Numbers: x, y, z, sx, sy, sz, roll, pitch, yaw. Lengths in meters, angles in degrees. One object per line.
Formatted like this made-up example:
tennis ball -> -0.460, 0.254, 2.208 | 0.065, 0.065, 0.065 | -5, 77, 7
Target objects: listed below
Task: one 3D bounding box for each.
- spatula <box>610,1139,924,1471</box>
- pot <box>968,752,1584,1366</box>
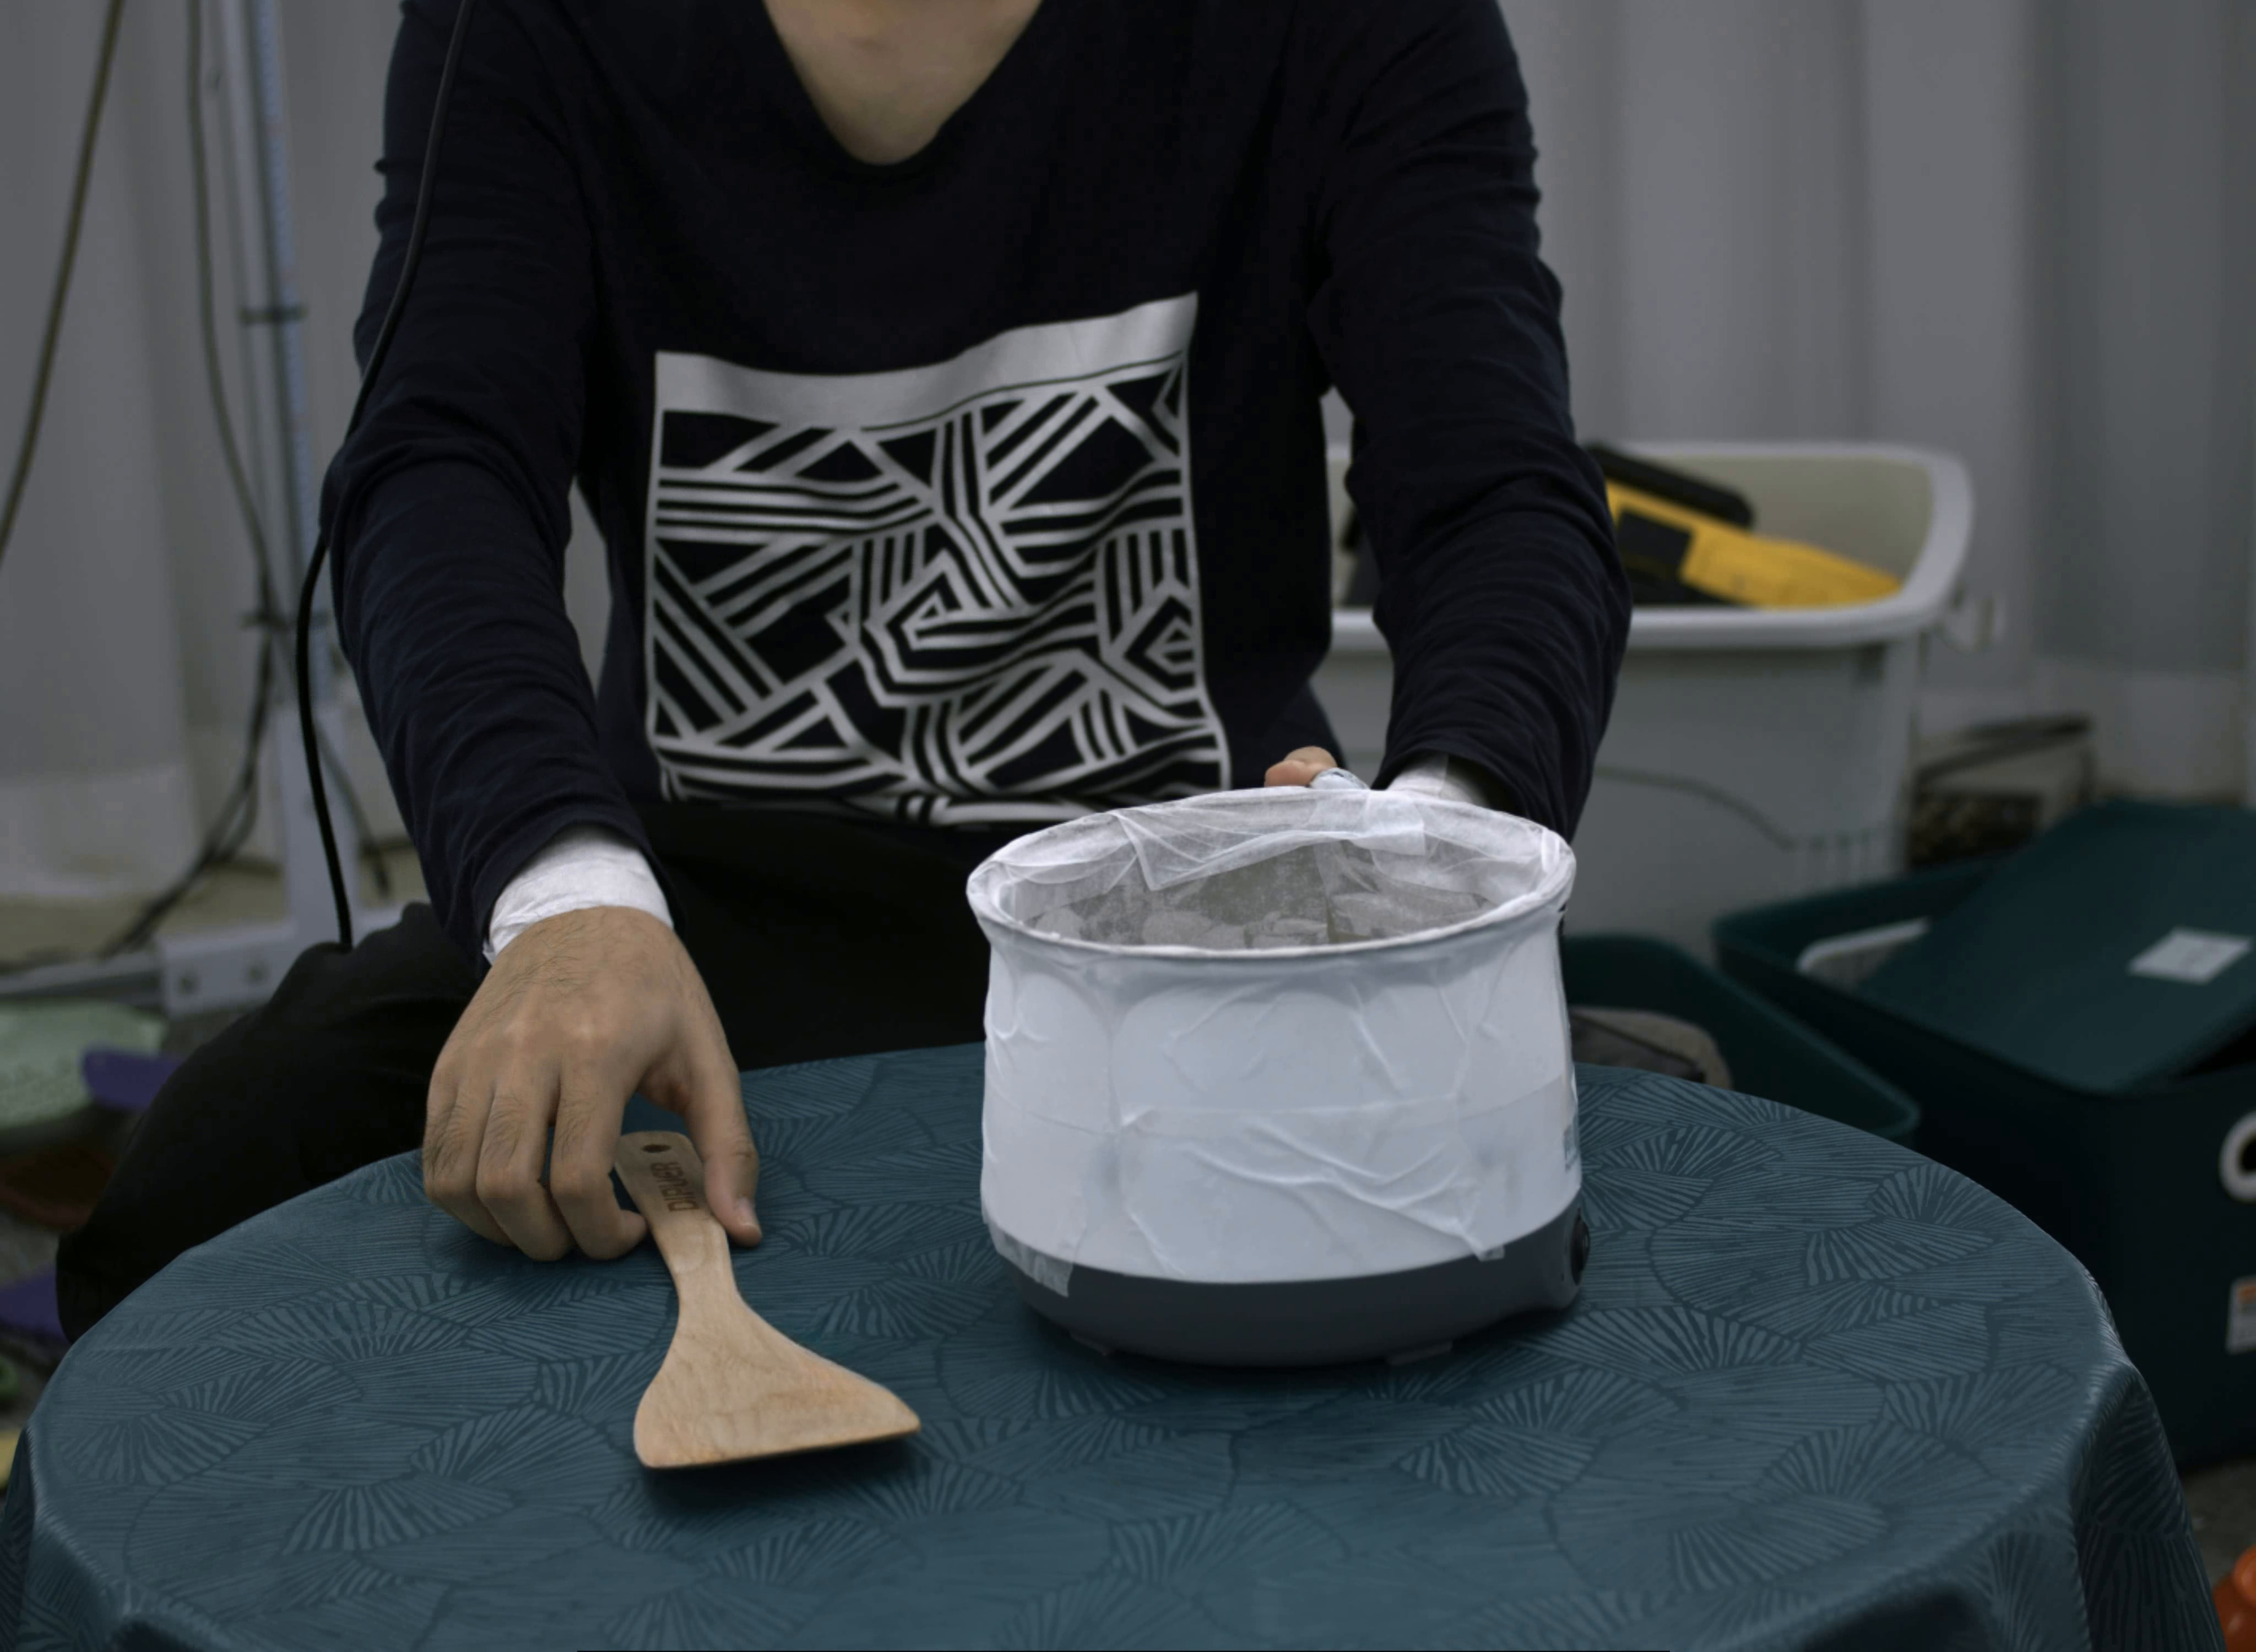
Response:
spatula -> -0.123, 0.138, 1.623 | 0.079, 0.016, 0.330 | -5, 14, -11
pot -> 0.049, 0.063, 1.625 | 0.178, 0.136, 0.235 | 1, 16, 11
